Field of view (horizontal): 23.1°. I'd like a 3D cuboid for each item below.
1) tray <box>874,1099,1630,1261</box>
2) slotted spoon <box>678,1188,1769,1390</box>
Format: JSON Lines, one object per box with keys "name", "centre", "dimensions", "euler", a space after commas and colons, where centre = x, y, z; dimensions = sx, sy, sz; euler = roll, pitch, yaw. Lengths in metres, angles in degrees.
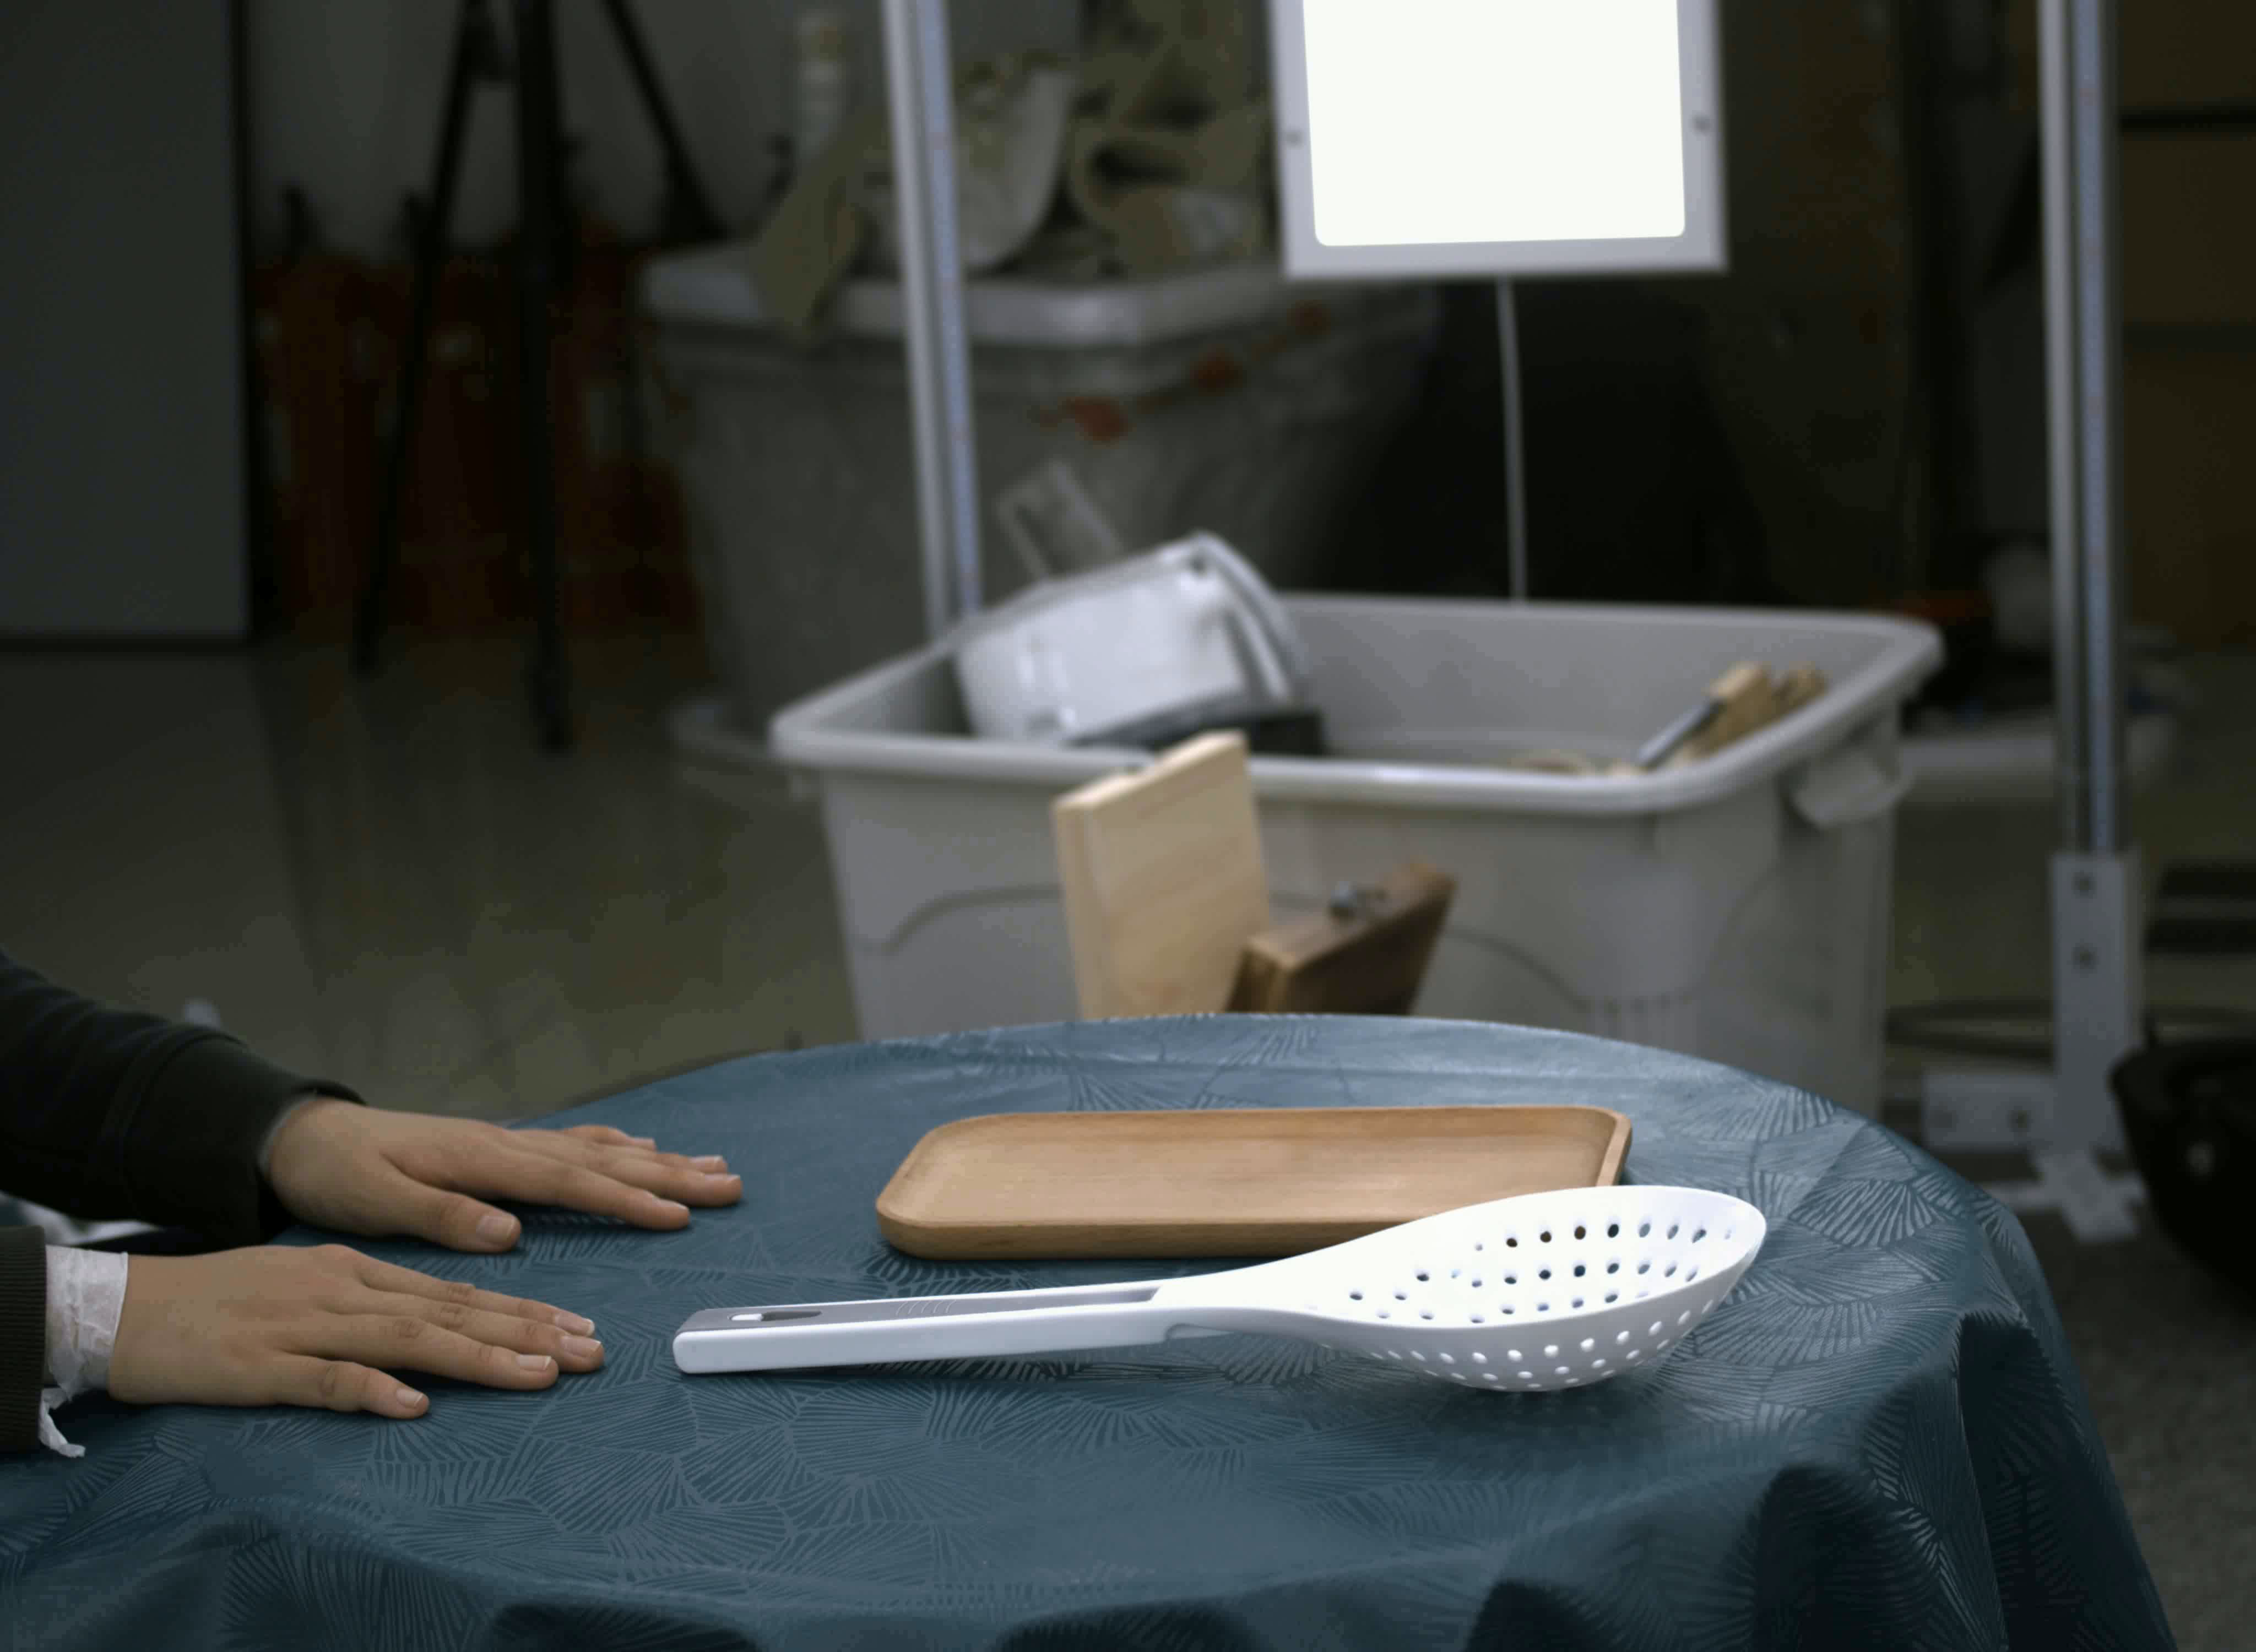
{"name": "tray", "centre": [0.043, 0.121, 1.871], "dimensions": [0.253, 0.023, 0.129], "euler": [-2, 12, 14]}
{"name": "slotted spoon", "centre": [0.026, 0.148, 1.705], "dimensions": [0.353, 0.046, 0.134], "euler": [-1, 12, 17]}
